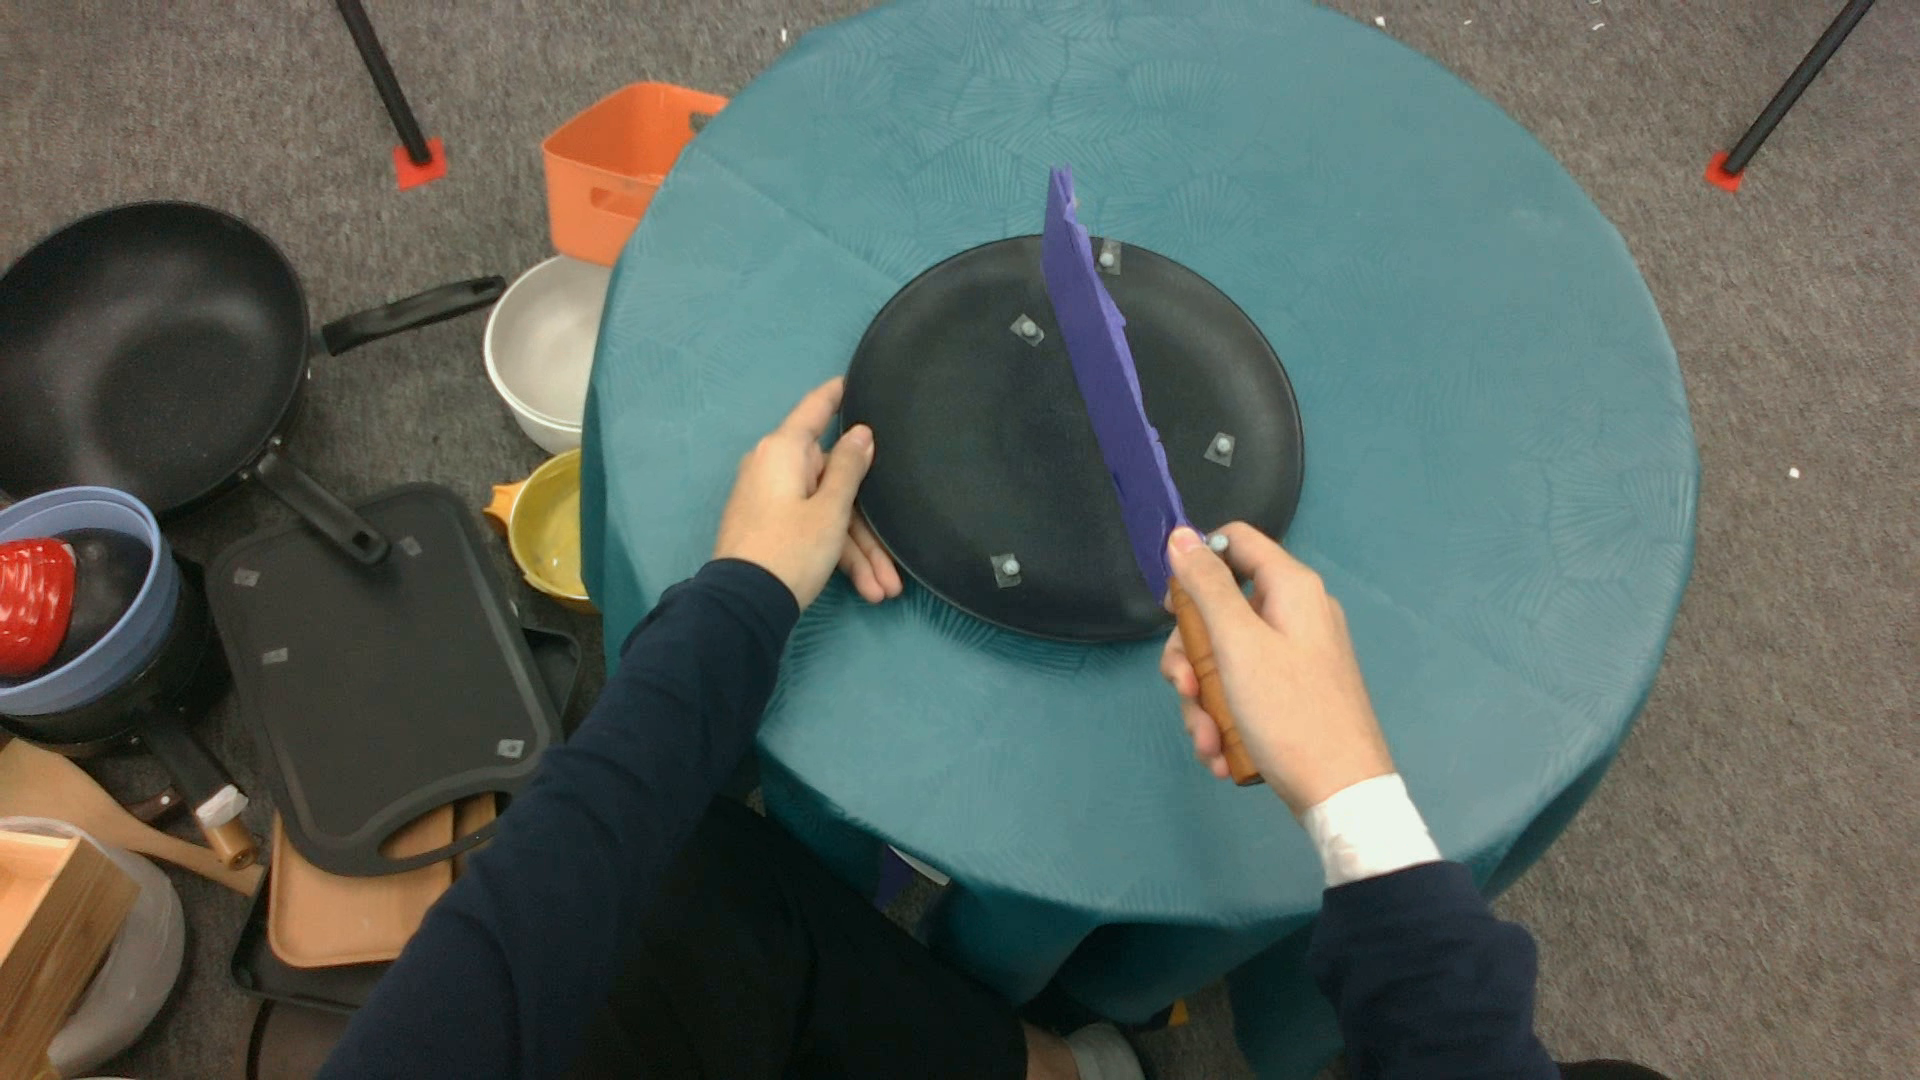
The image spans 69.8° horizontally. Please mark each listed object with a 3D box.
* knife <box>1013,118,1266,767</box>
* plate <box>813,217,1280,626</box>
[{"bbox_3d":[0.075,-0.043,0.644,0.032,0.103,0.316,-12,69,-6],"label":"knife"},{"bbox_3d":[0.046,-0.065,0.720,0.244,0.023,0.245,2,64,-5],"label":"plate"}]
